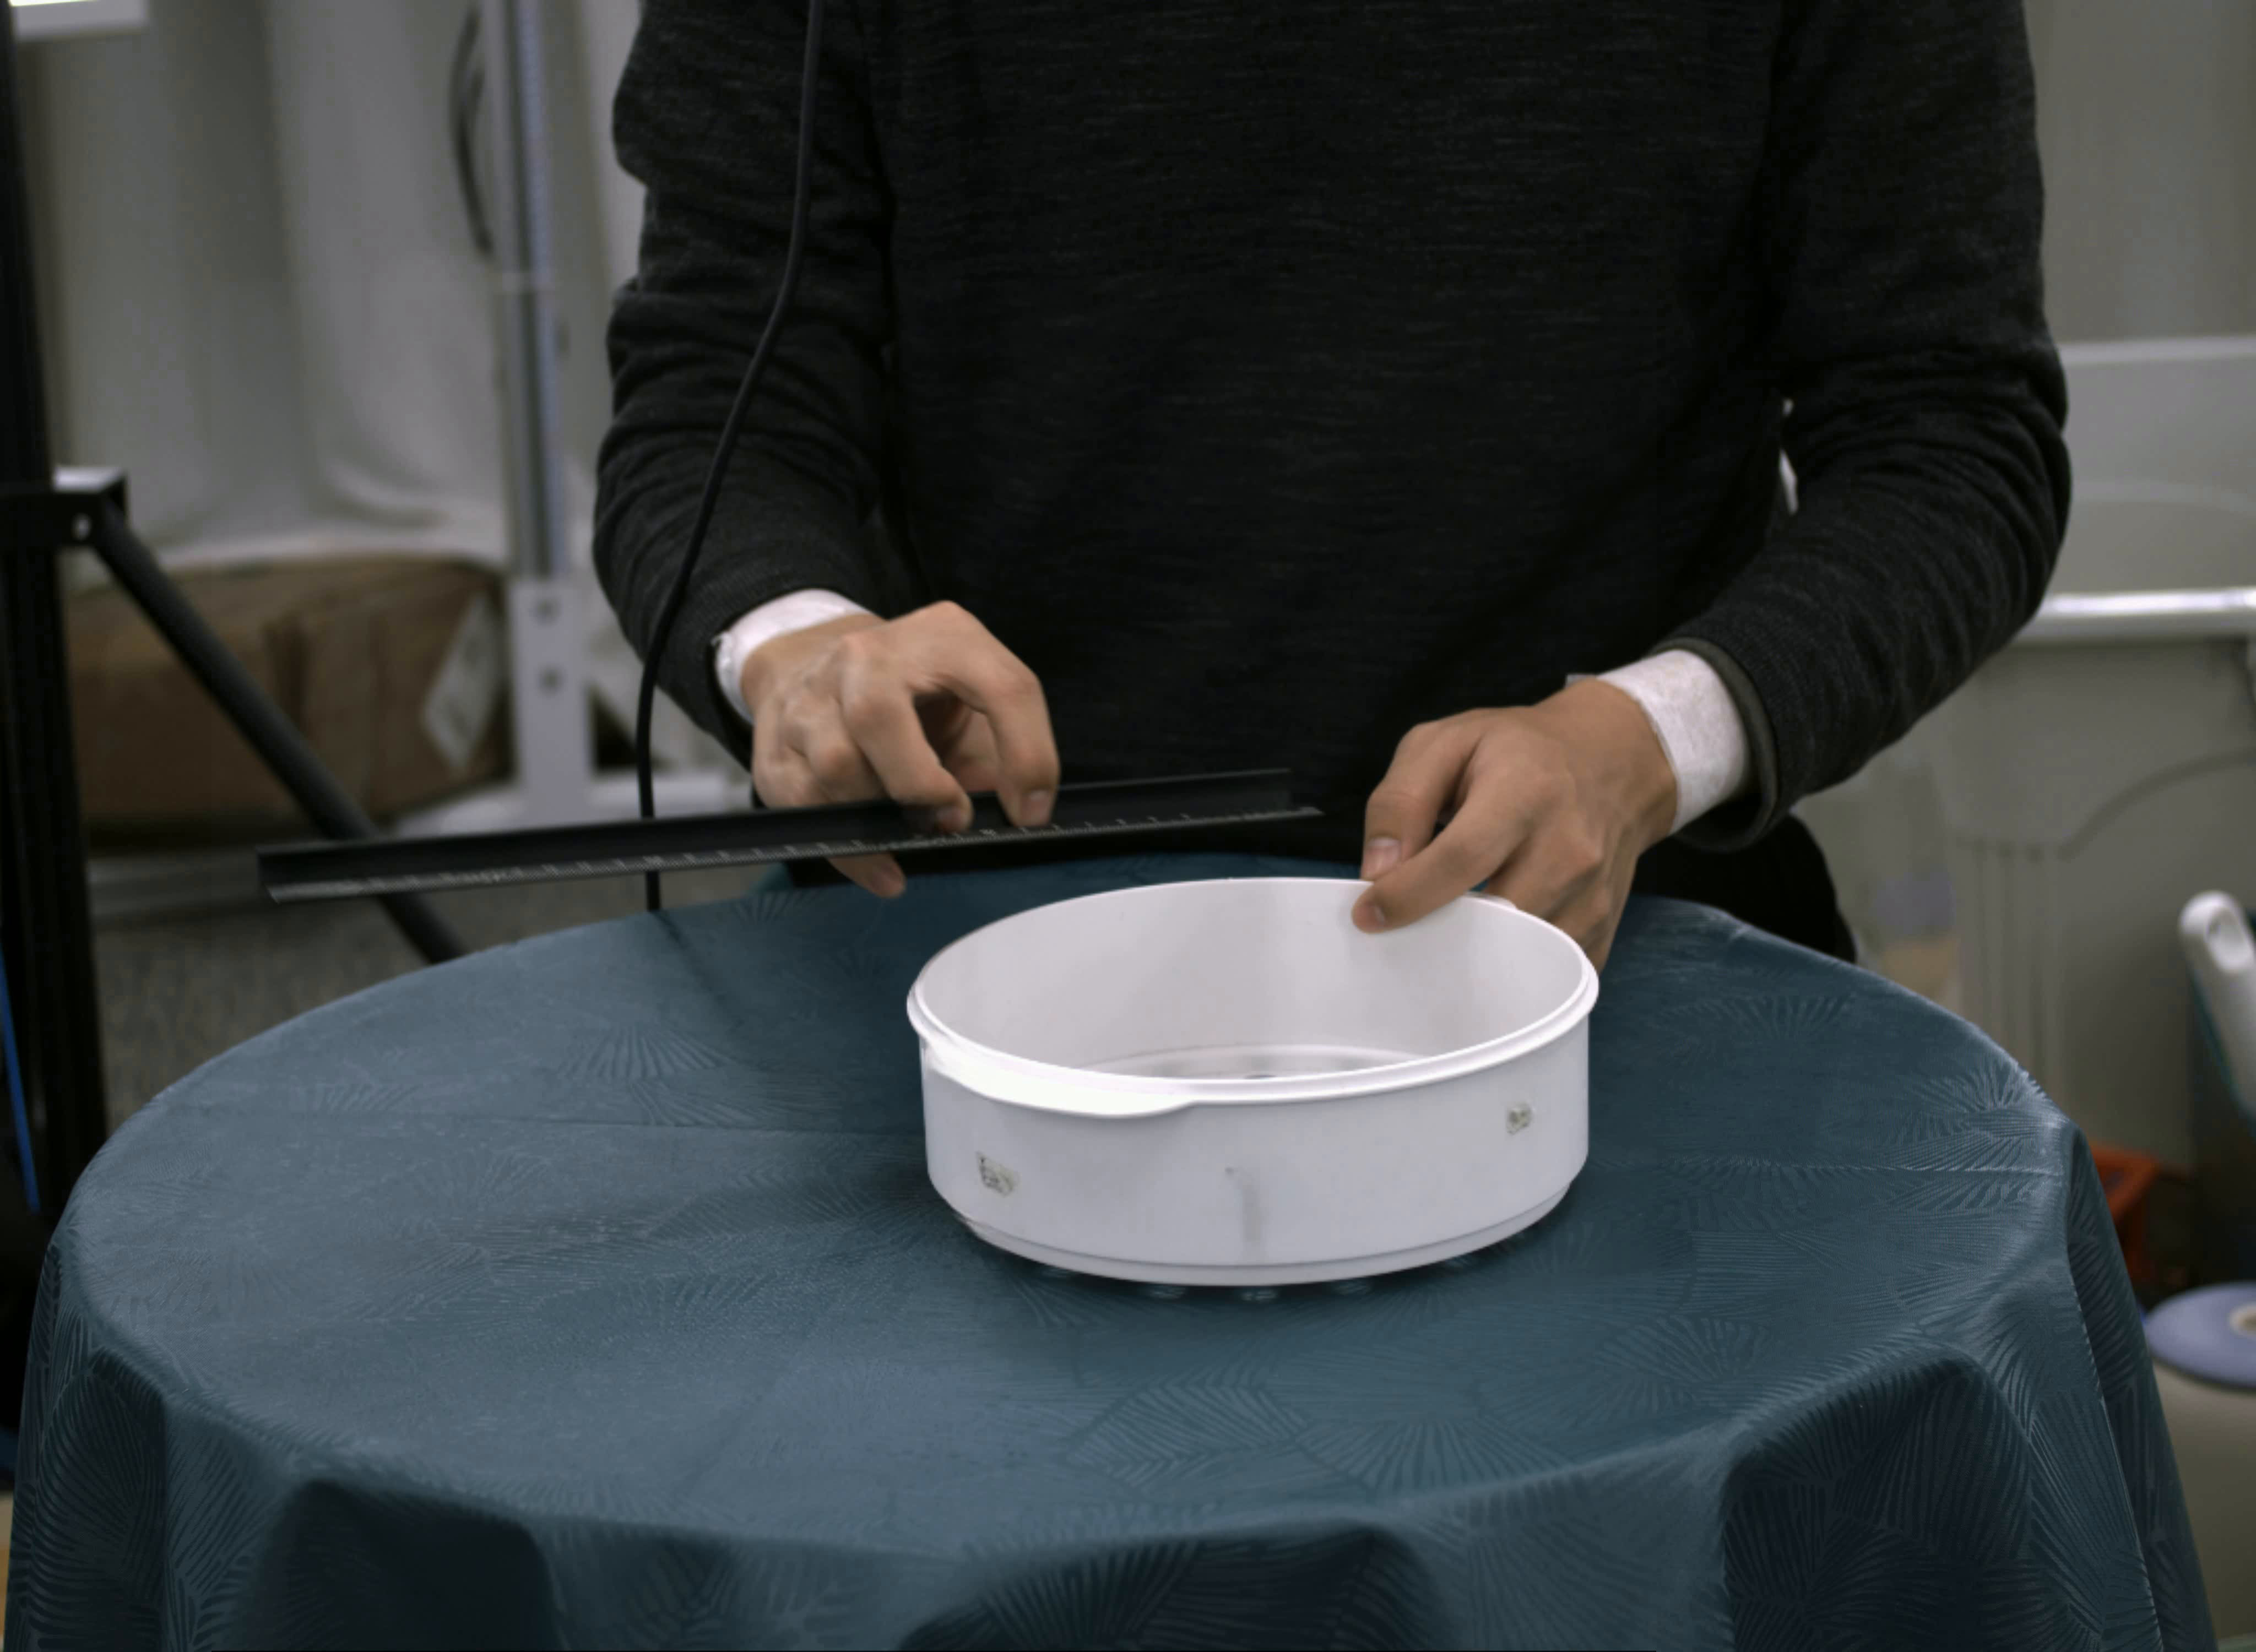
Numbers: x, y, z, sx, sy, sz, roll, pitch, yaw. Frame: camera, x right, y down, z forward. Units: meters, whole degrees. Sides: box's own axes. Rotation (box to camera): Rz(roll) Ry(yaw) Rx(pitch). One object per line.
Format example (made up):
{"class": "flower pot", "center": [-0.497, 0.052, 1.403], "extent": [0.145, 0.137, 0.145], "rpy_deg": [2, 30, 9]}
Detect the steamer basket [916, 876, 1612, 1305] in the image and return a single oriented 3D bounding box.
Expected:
{"class": "steamer basket", "center": [0.040, 0.076, 1.538], "extent": [0.205, 0.069, 0.226], "rpy_deg": [7, 20, 30]}

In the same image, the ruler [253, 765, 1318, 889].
{"class": "ruler", "center": [-0.097, 0.000, 1.550], "extent": [0.308, 0.017, 0.039], "rpy_deg": [-4, 2, -13]}
